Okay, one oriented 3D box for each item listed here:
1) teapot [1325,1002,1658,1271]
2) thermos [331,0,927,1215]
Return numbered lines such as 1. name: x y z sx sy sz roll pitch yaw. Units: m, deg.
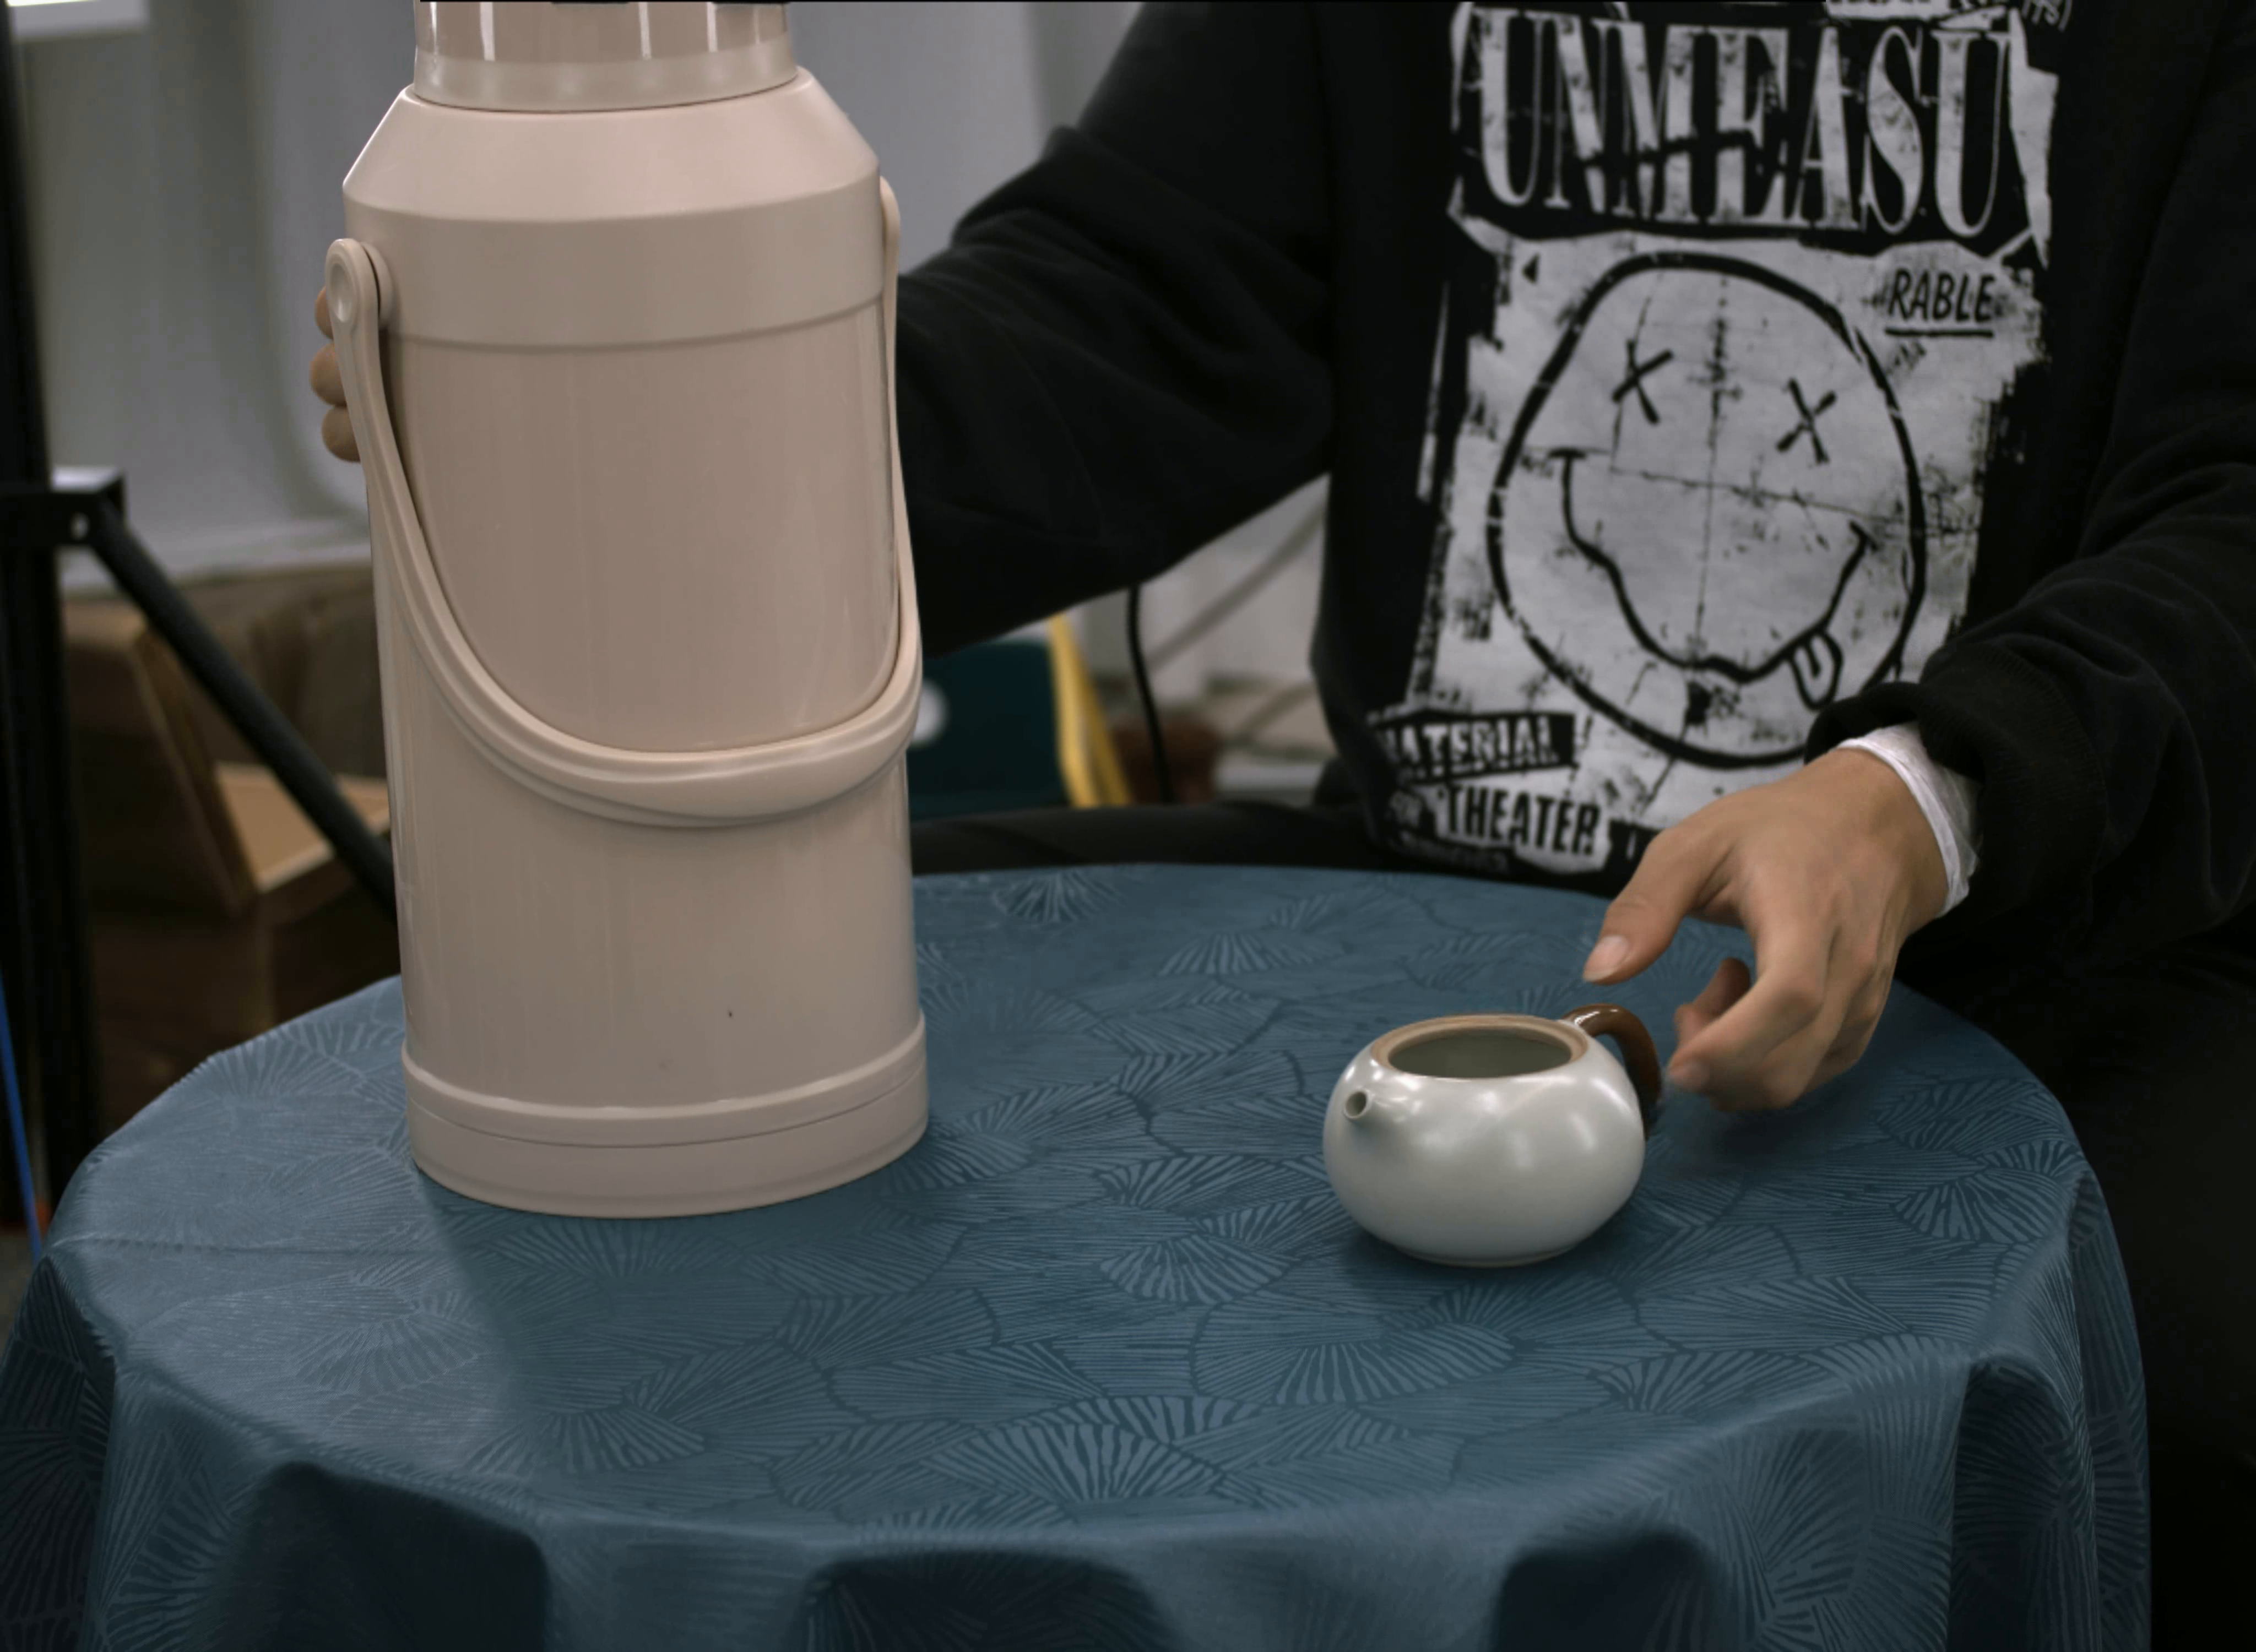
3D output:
1. teapot: 0.108 0.087 1.502 0.094 0.059 0.125 8 19 45
2. thermos: -0.152 -0.101 1.594 0.171 0.406 0.211 -12 19 -29
